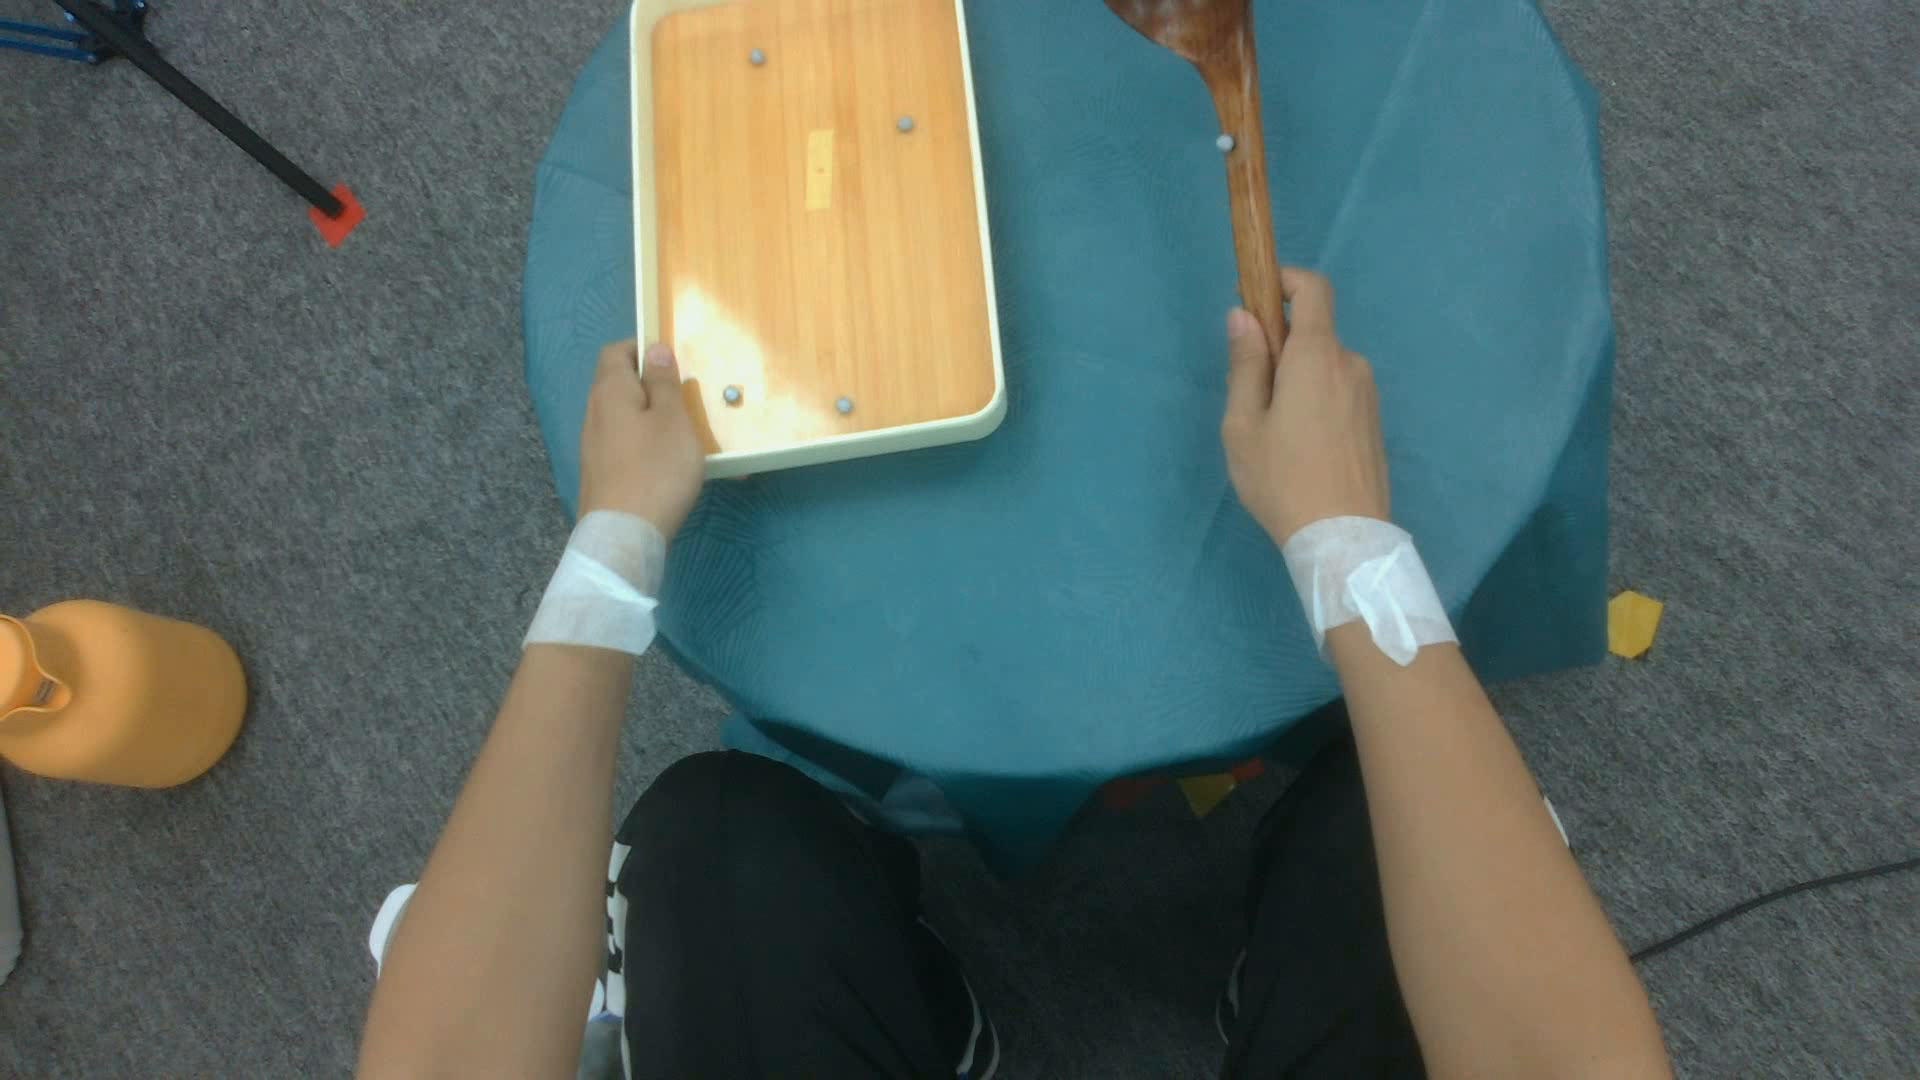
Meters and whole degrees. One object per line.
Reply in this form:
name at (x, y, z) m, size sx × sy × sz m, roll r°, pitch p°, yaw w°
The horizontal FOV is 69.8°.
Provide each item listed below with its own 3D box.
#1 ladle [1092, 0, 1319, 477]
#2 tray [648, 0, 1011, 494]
ladle at (0.123, -0.164, 0.673) m, size 0.077 × 0.081 × 0.274 m, roll -7°, pitch 87°, yaw -30°
tray at (-0.079, -0.179, 0.766) m, size 0.191 × 0.027 × 0.301 m, roll -8°, pitch 70°, yaw 9°
